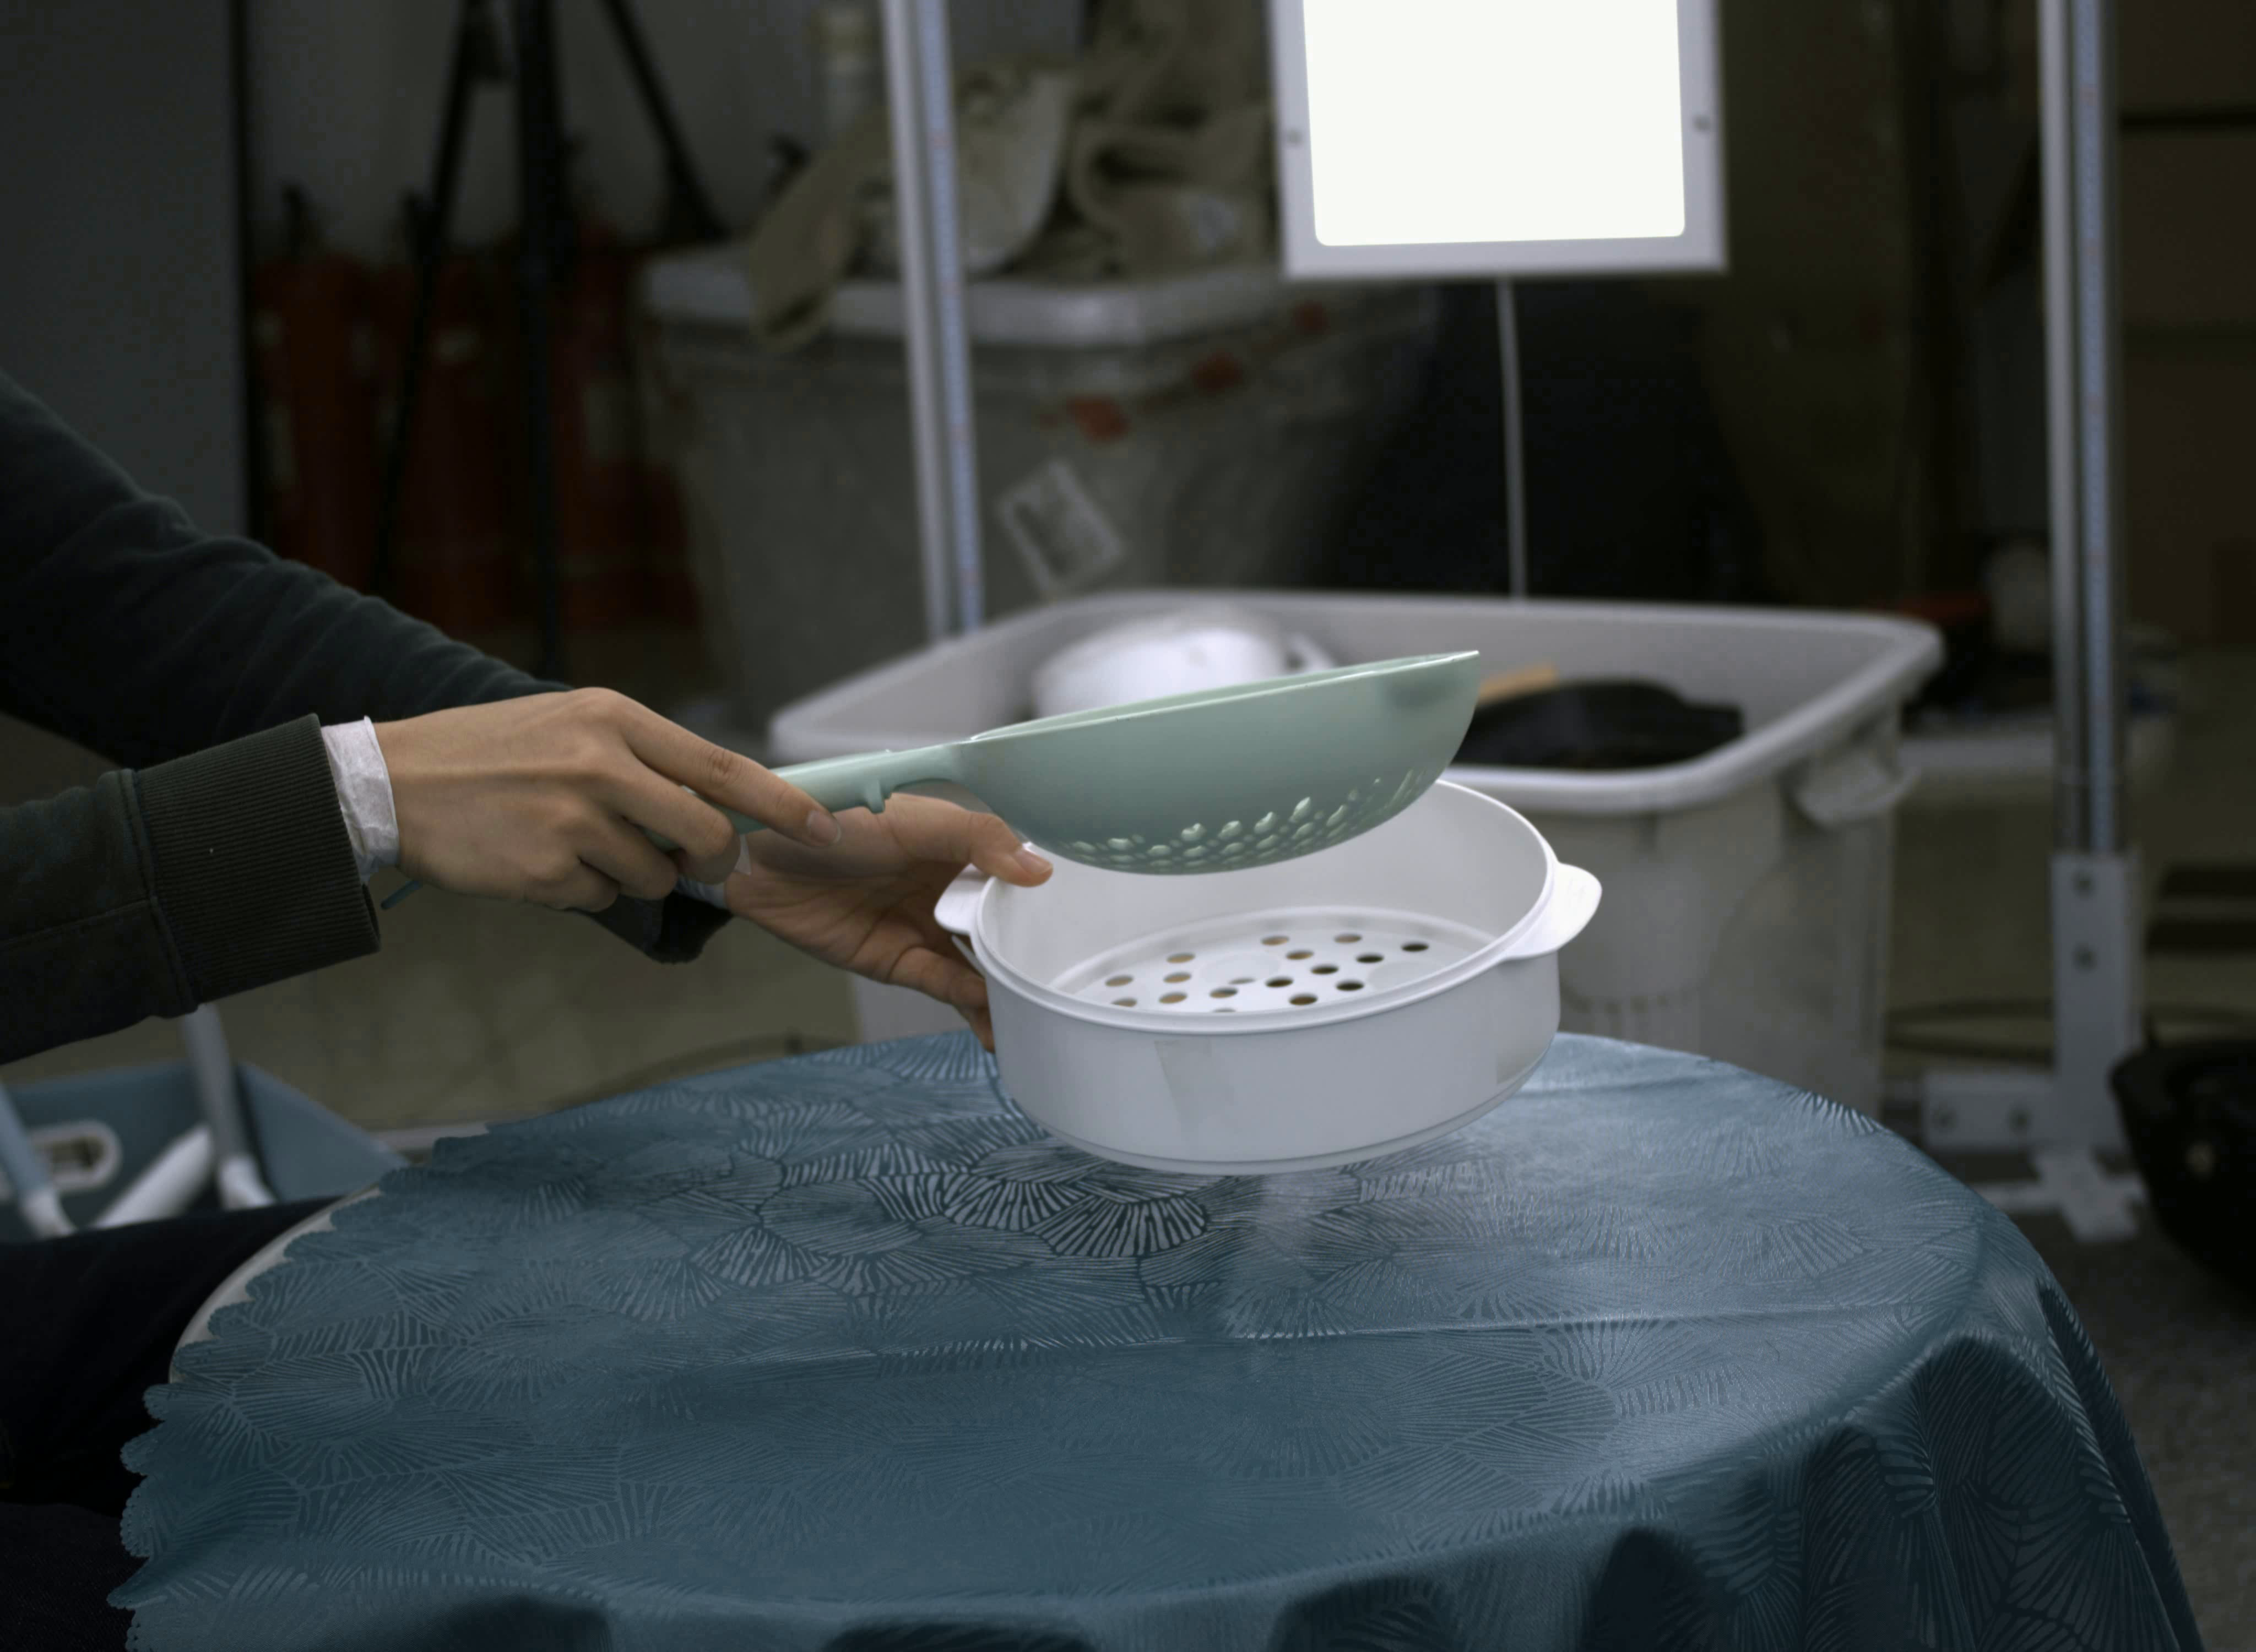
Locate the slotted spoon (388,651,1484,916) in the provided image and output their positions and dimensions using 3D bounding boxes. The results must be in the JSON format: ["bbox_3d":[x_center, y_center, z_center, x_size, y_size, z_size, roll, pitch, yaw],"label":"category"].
[{"bbox_3d":[-0.062,-0.014,1.783,0.358,0.075,0.169,-2,2,2],"label":"slotted spoon"}]

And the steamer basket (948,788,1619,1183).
[{"bbox_3d":[0.054,0.052,1.868,0.233,0.069,0.198,1,24,20],"label":"steamer basket"}]
